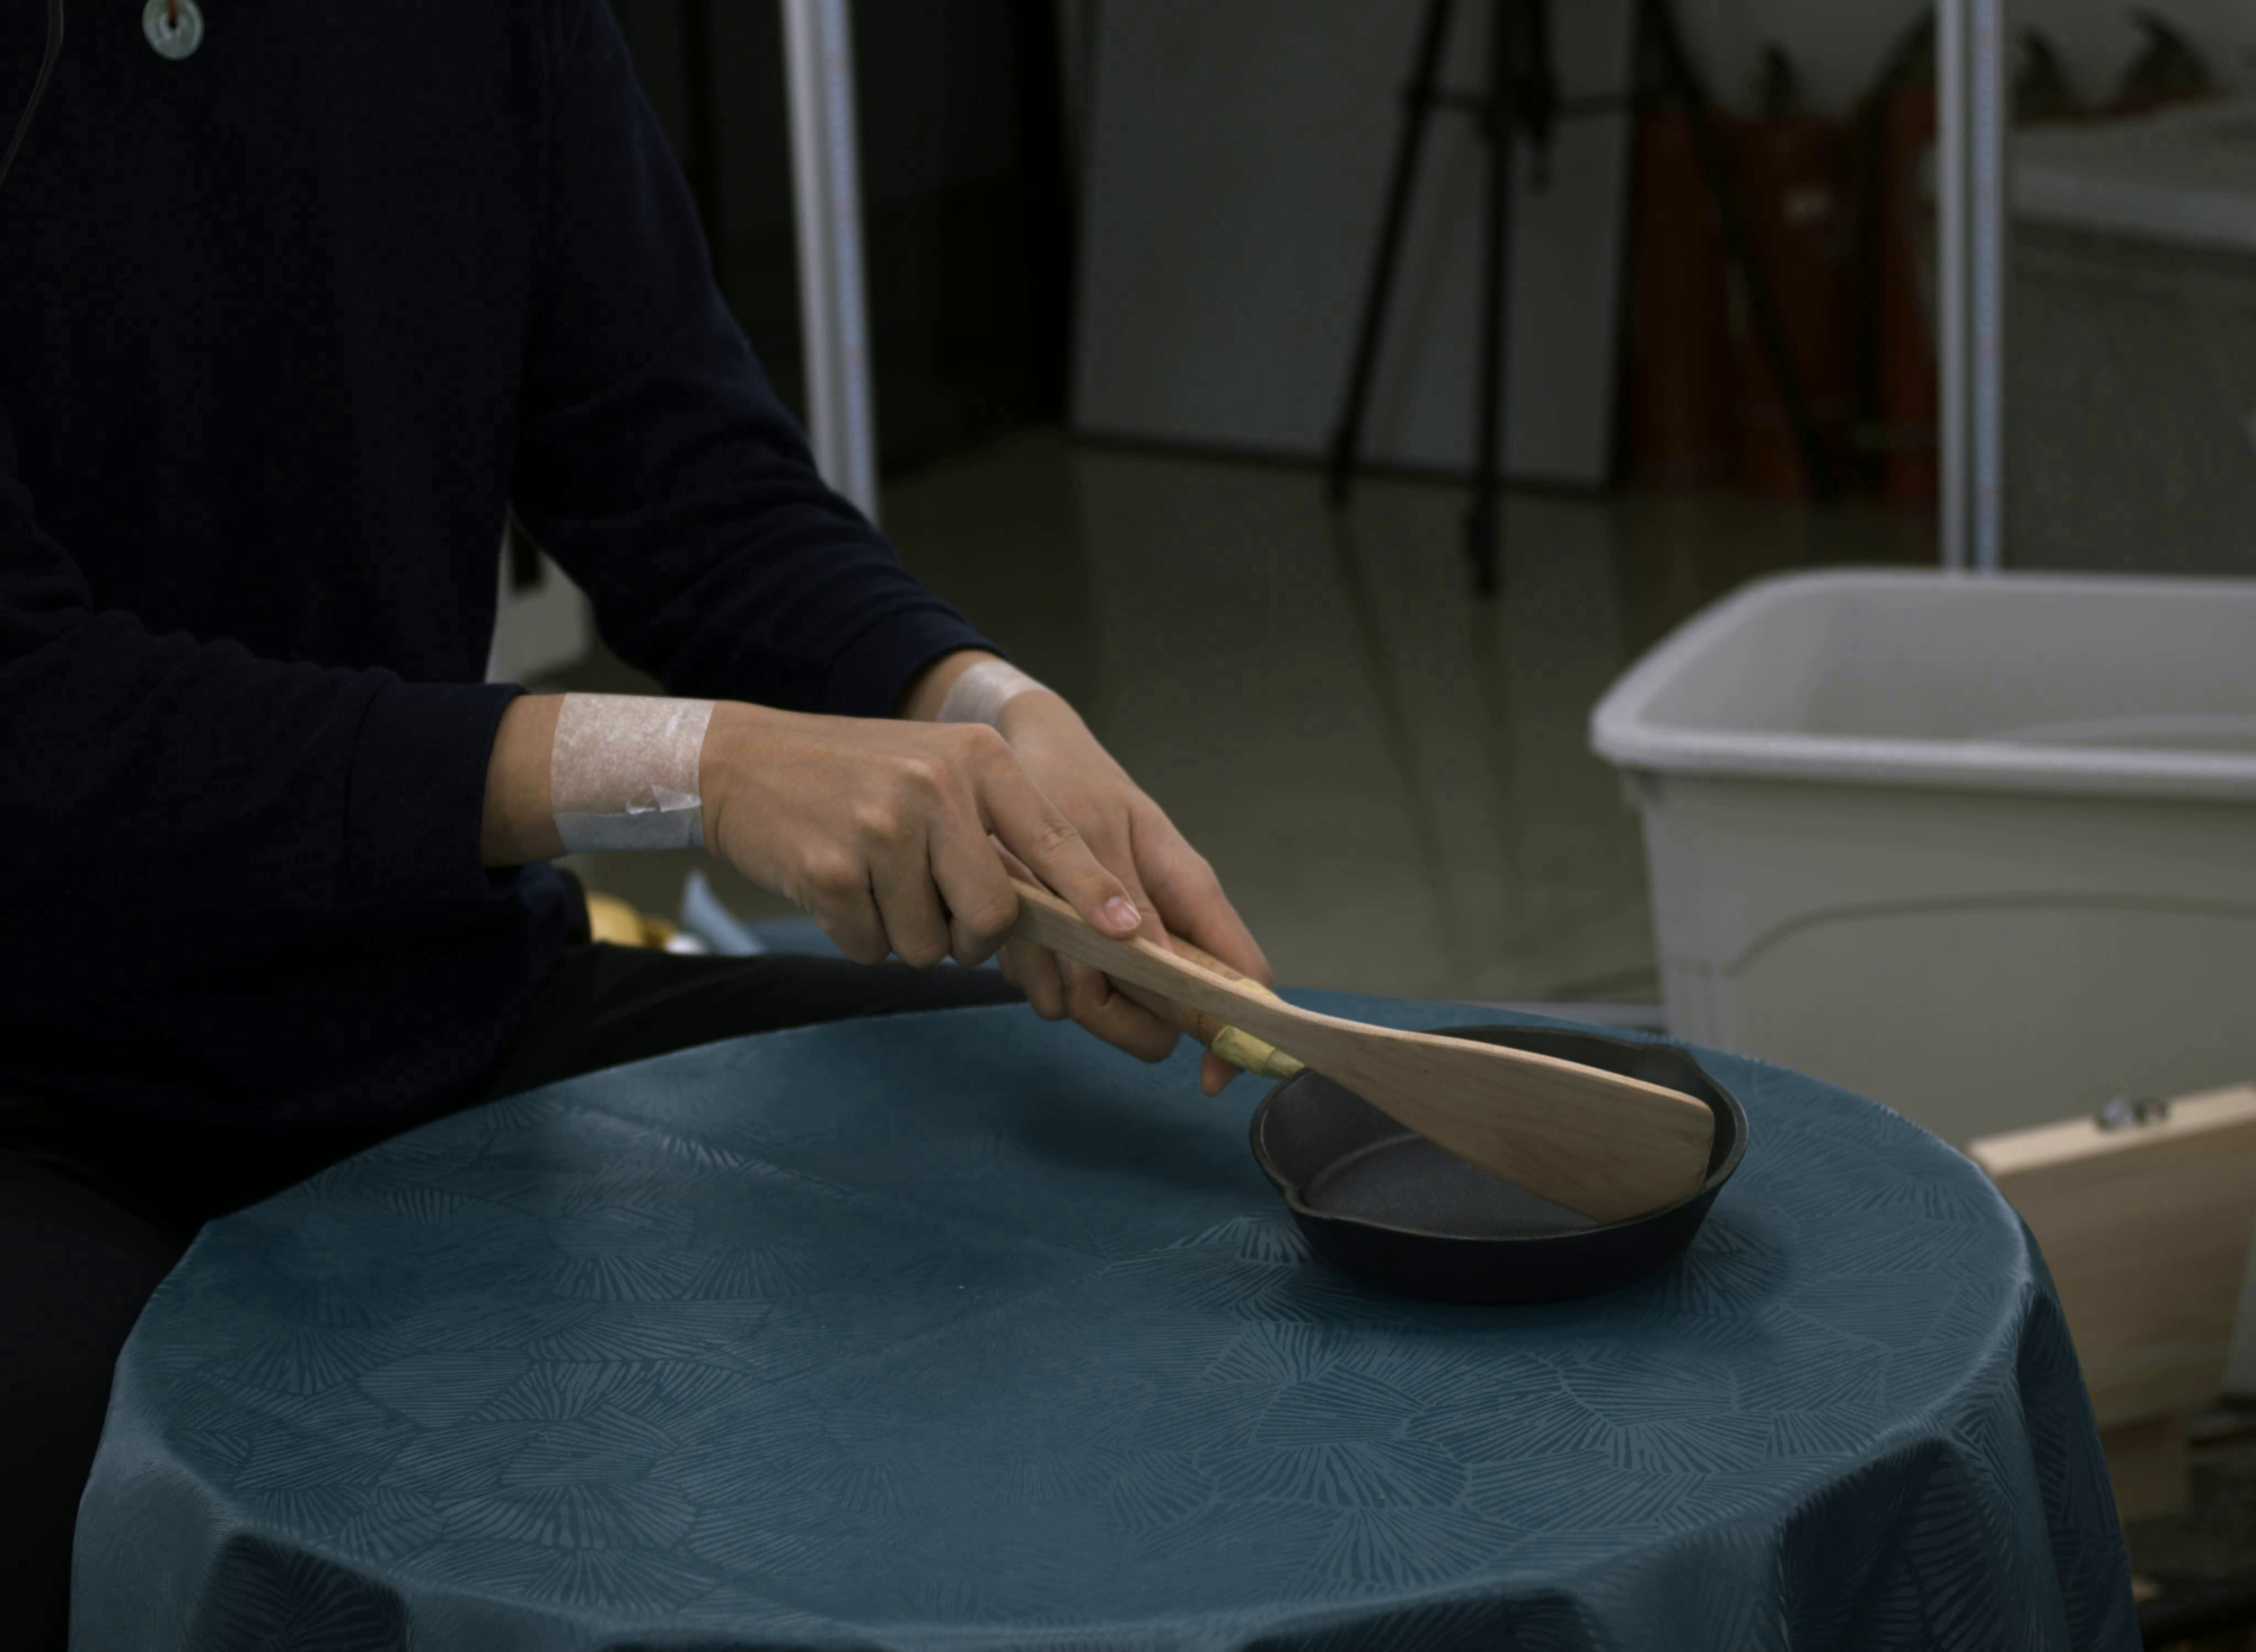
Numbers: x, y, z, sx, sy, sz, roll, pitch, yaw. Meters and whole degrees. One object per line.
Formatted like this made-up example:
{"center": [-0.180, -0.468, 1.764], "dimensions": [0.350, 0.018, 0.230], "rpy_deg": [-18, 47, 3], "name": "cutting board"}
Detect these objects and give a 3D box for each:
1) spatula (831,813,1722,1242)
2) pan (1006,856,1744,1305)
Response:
{"center": [0.042, 0.056, 1.704], "dimensions": [0.329, 0.080, 0.016], "rpy_deg": [22, 54, 27], "name": "spatula"}
{"center": [0.064, 0.078, 1.750], "dimensions": [0.165, 0.050, 0.328], "rpy_deg": [-18, 27, -33], "name": "pan"}
